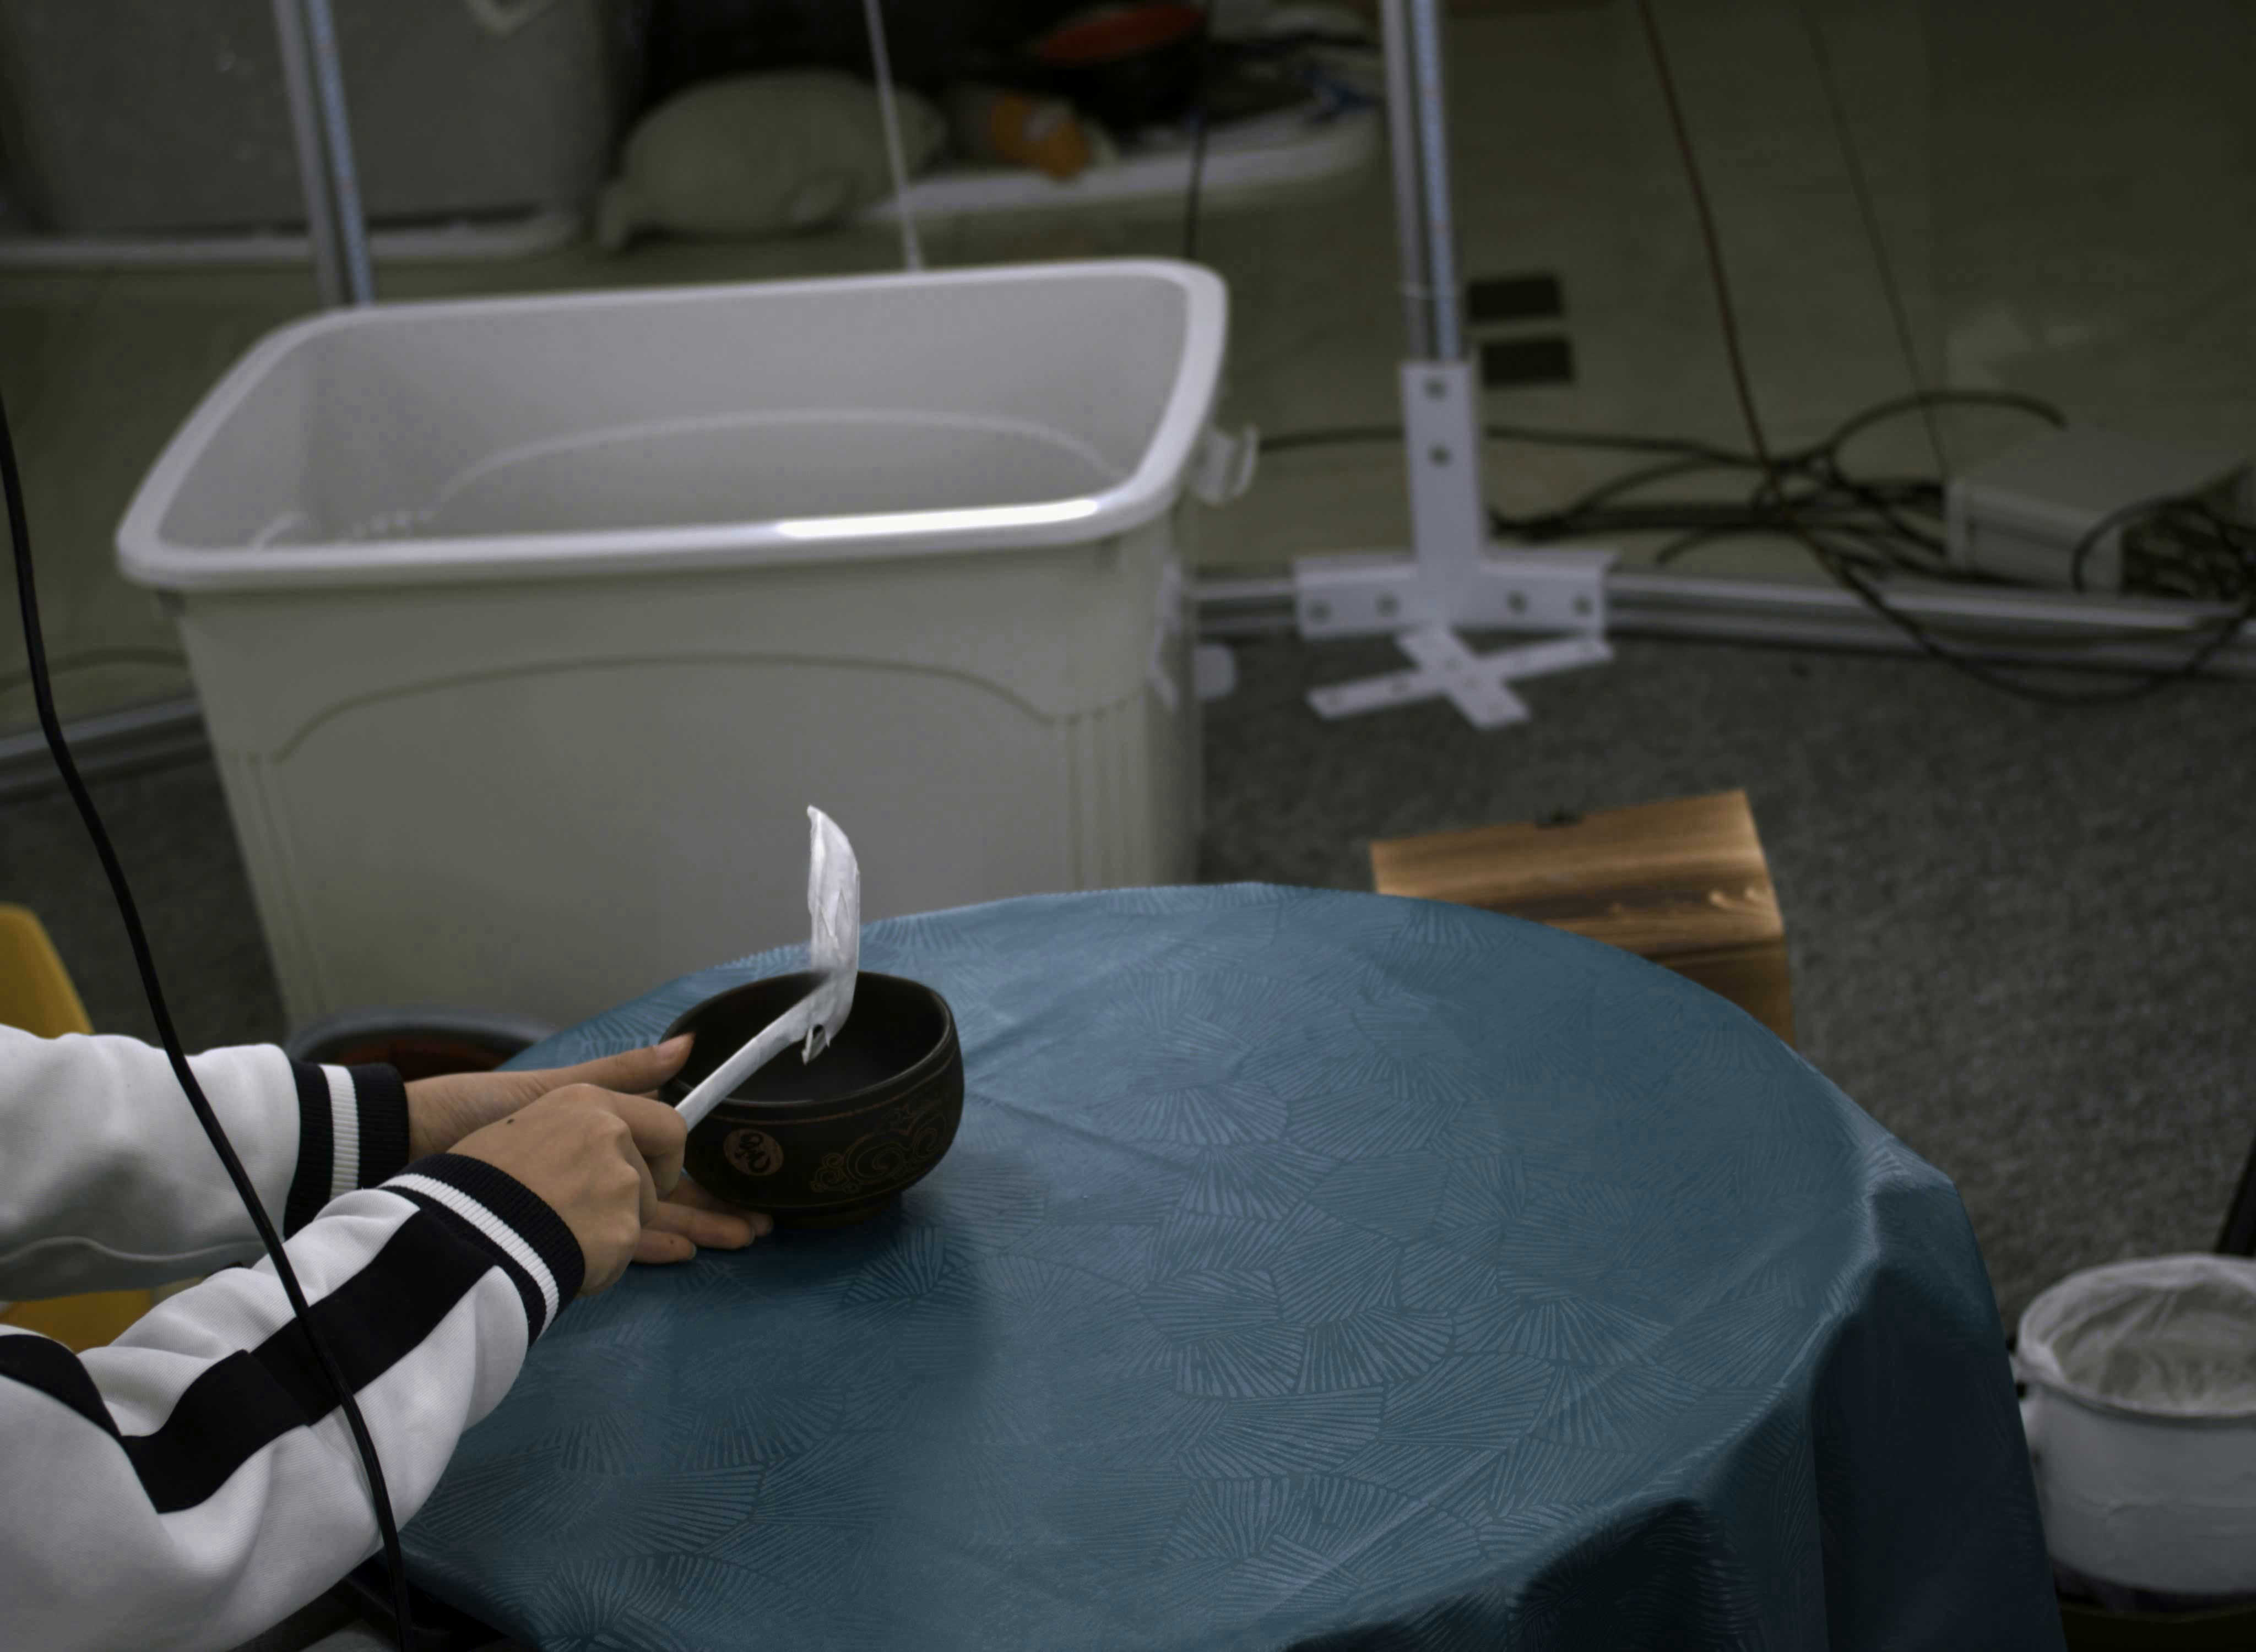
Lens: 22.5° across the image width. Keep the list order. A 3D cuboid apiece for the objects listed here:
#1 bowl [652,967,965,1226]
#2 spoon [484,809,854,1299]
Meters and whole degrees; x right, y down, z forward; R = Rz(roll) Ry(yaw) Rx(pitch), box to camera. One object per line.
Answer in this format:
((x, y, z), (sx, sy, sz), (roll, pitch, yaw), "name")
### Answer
((-0.119, 0.109, 2.154), (0.118, 0.071, 0.116), (-5, 25, 3), "bowl")
((-0.170, 0.090, 2.056), (0.059, 0.102, 0.274), (21, 39, 24), "spoon")
